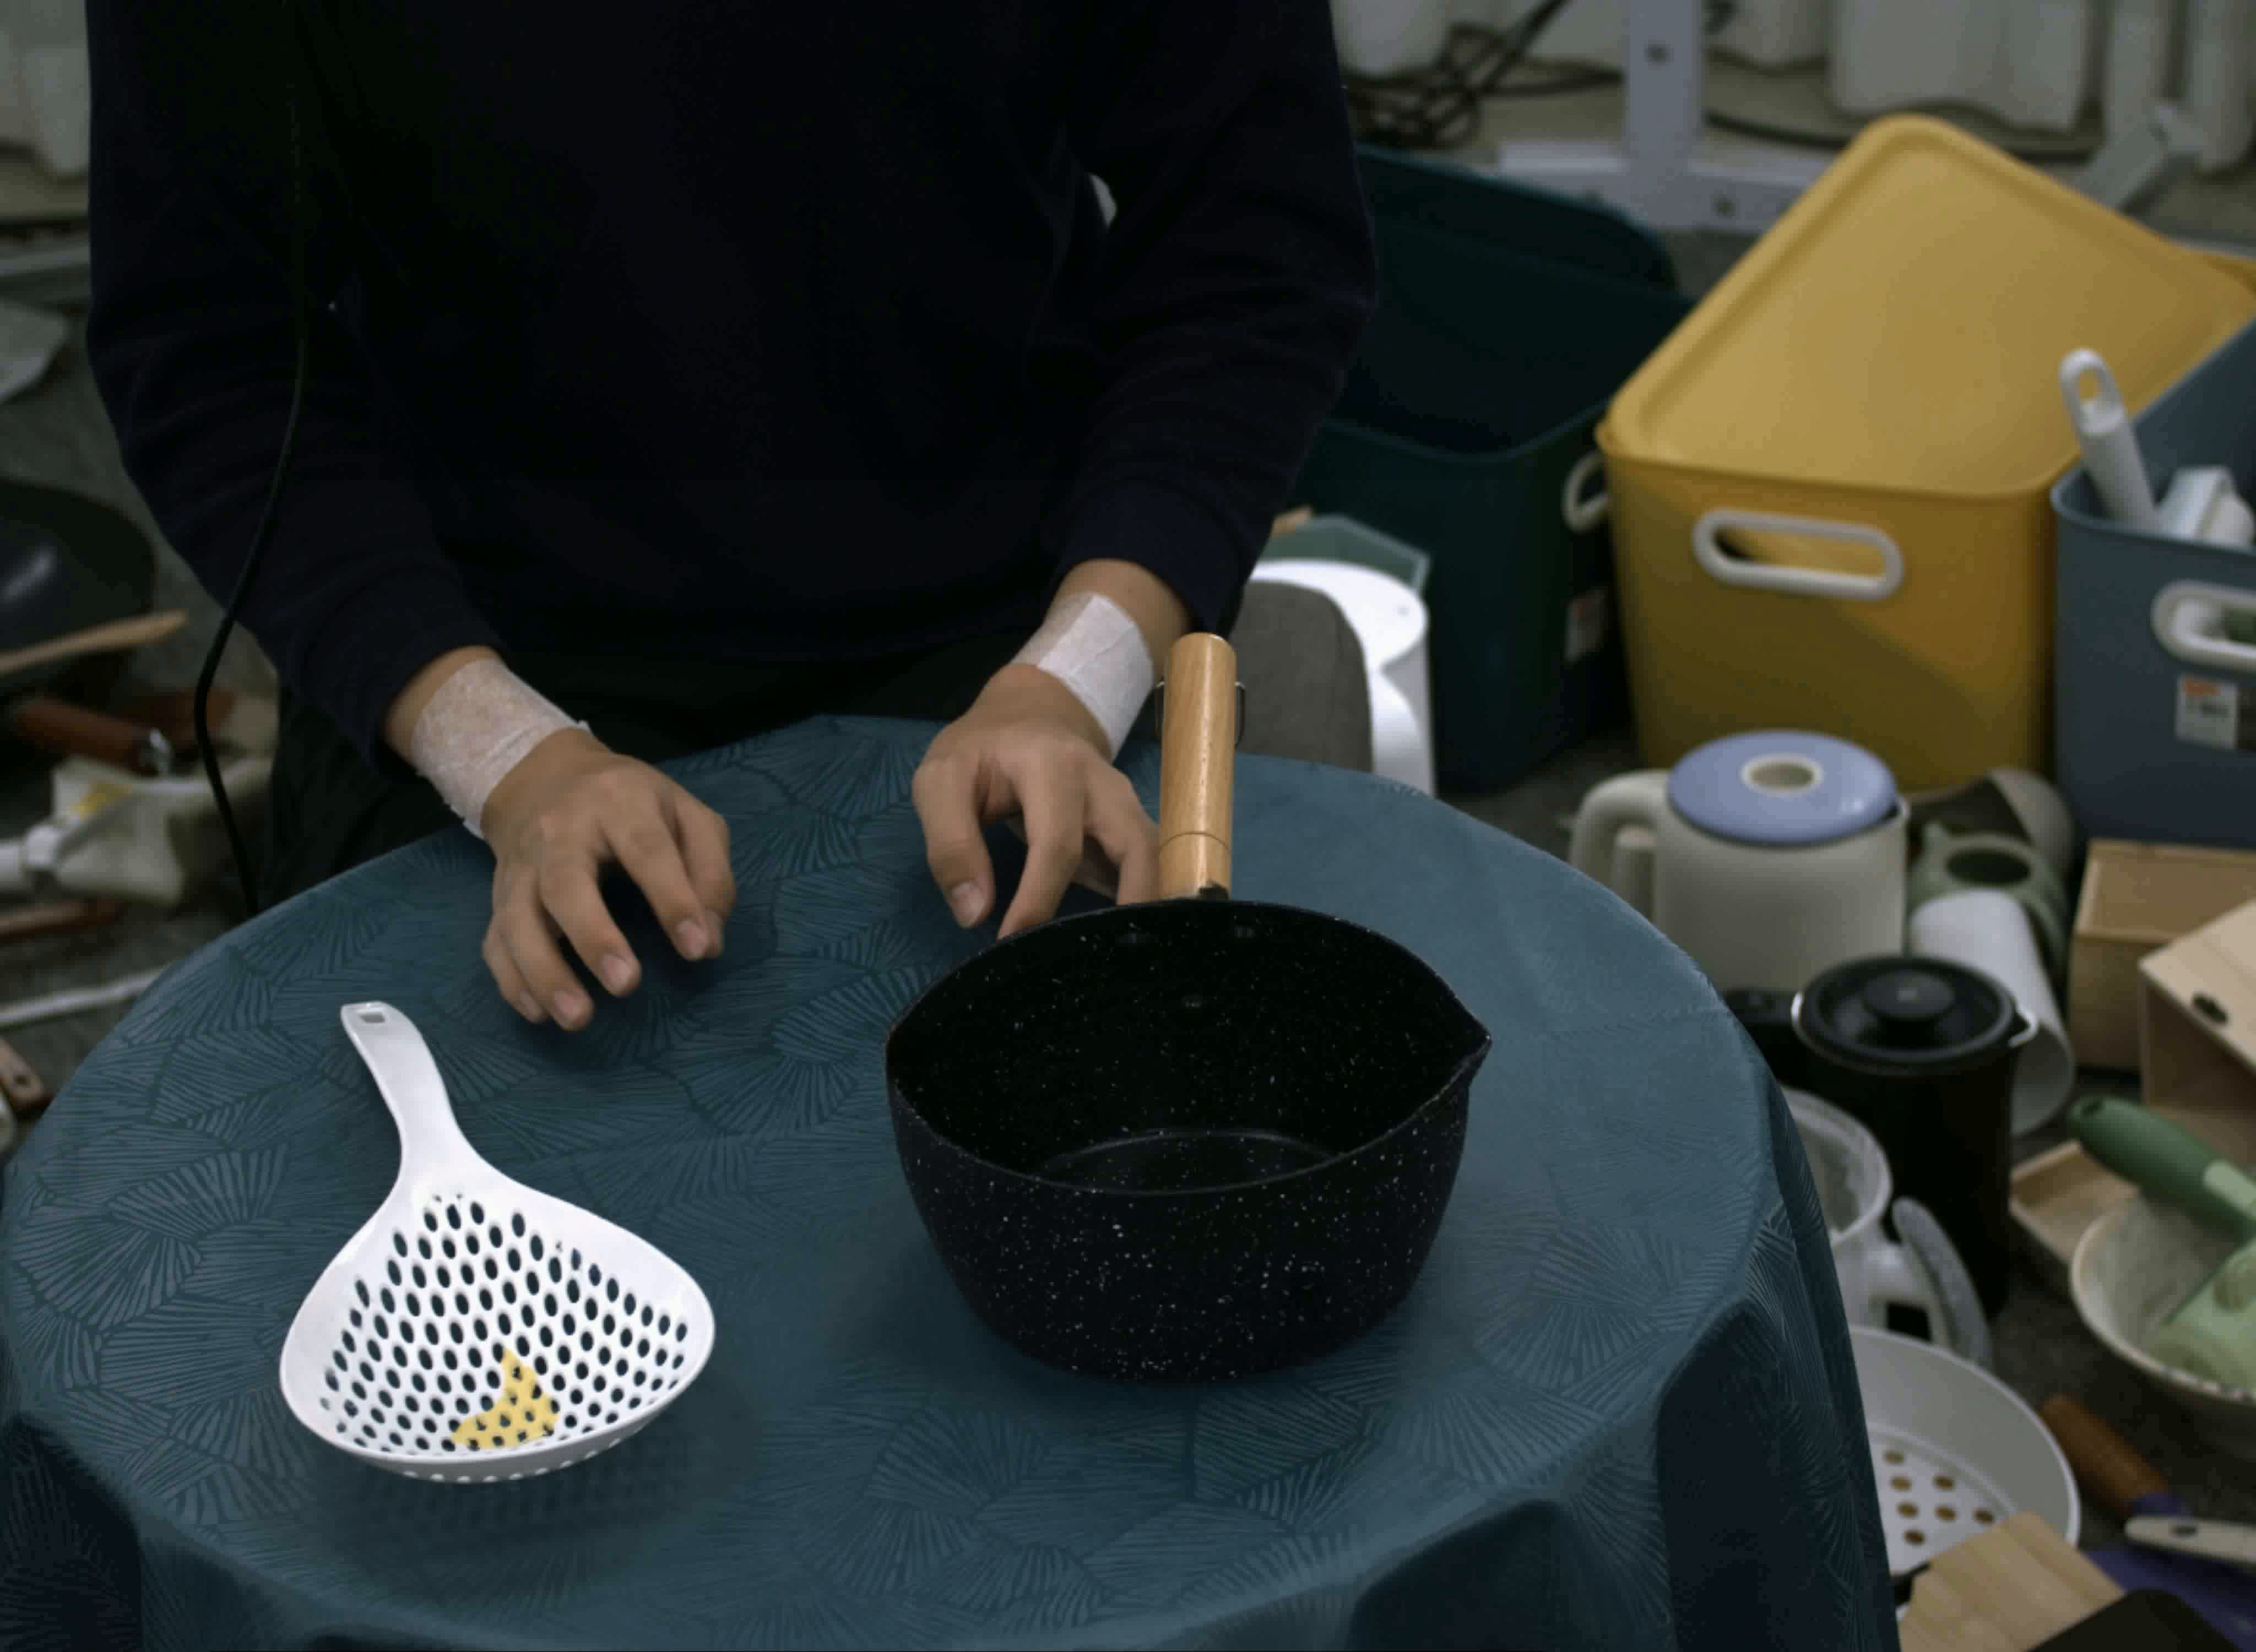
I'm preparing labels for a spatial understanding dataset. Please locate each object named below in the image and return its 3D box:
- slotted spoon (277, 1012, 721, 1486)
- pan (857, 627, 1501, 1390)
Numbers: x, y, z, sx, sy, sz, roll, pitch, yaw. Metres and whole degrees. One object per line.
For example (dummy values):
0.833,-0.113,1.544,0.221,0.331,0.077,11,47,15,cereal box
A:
-0.225,0.125,1.831,0.137,0.050,0.351,-12,30,-13,slotted spoon
0.019,0.057,1.869,0.206,0.107,0.348,-3,28,3,pan
